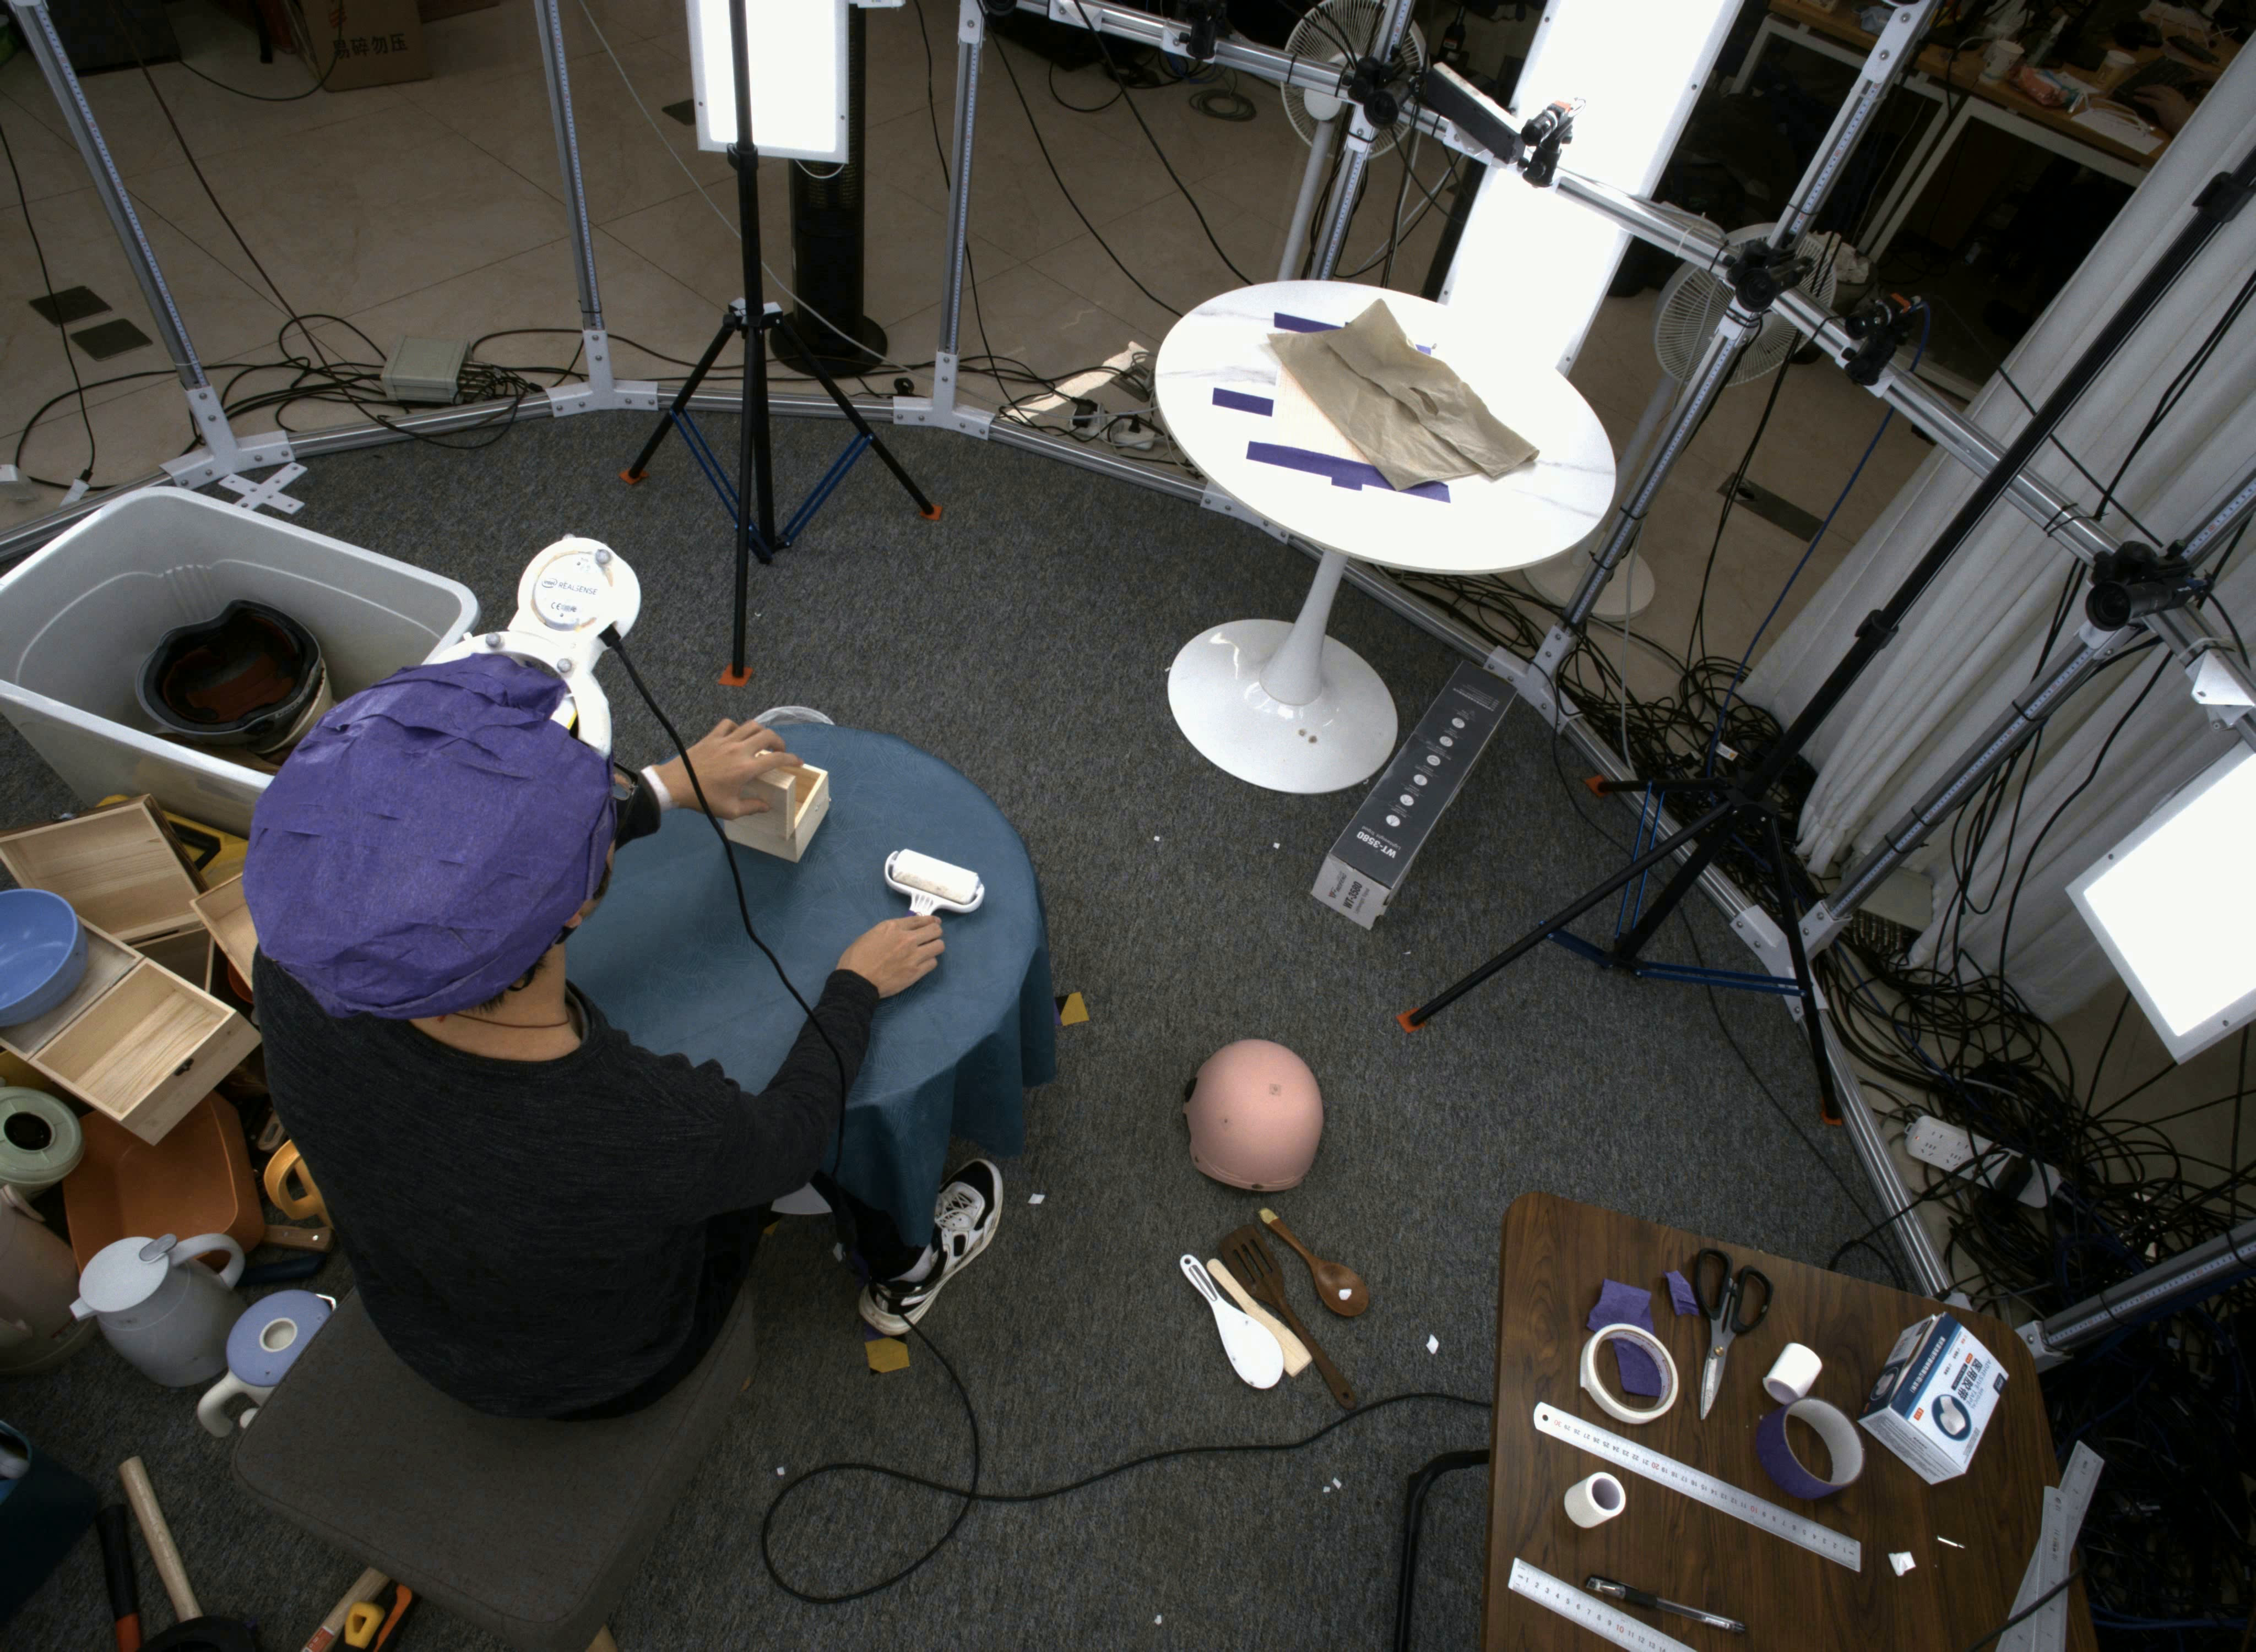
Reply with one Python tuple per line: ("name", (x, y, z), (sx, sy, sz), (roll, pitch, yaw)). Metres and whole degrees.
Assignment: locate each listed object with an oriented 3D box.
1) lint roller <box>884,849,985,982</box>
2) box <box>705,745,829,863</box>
("lint roller", (-0.268, 0.112, 1.645), (0.132, 0.051, 0.179), (21, 49, 1))
("box", (-0.451, -0.055, 1.634), (0.101, 0.188, 0.132), (17, 52, 2))
